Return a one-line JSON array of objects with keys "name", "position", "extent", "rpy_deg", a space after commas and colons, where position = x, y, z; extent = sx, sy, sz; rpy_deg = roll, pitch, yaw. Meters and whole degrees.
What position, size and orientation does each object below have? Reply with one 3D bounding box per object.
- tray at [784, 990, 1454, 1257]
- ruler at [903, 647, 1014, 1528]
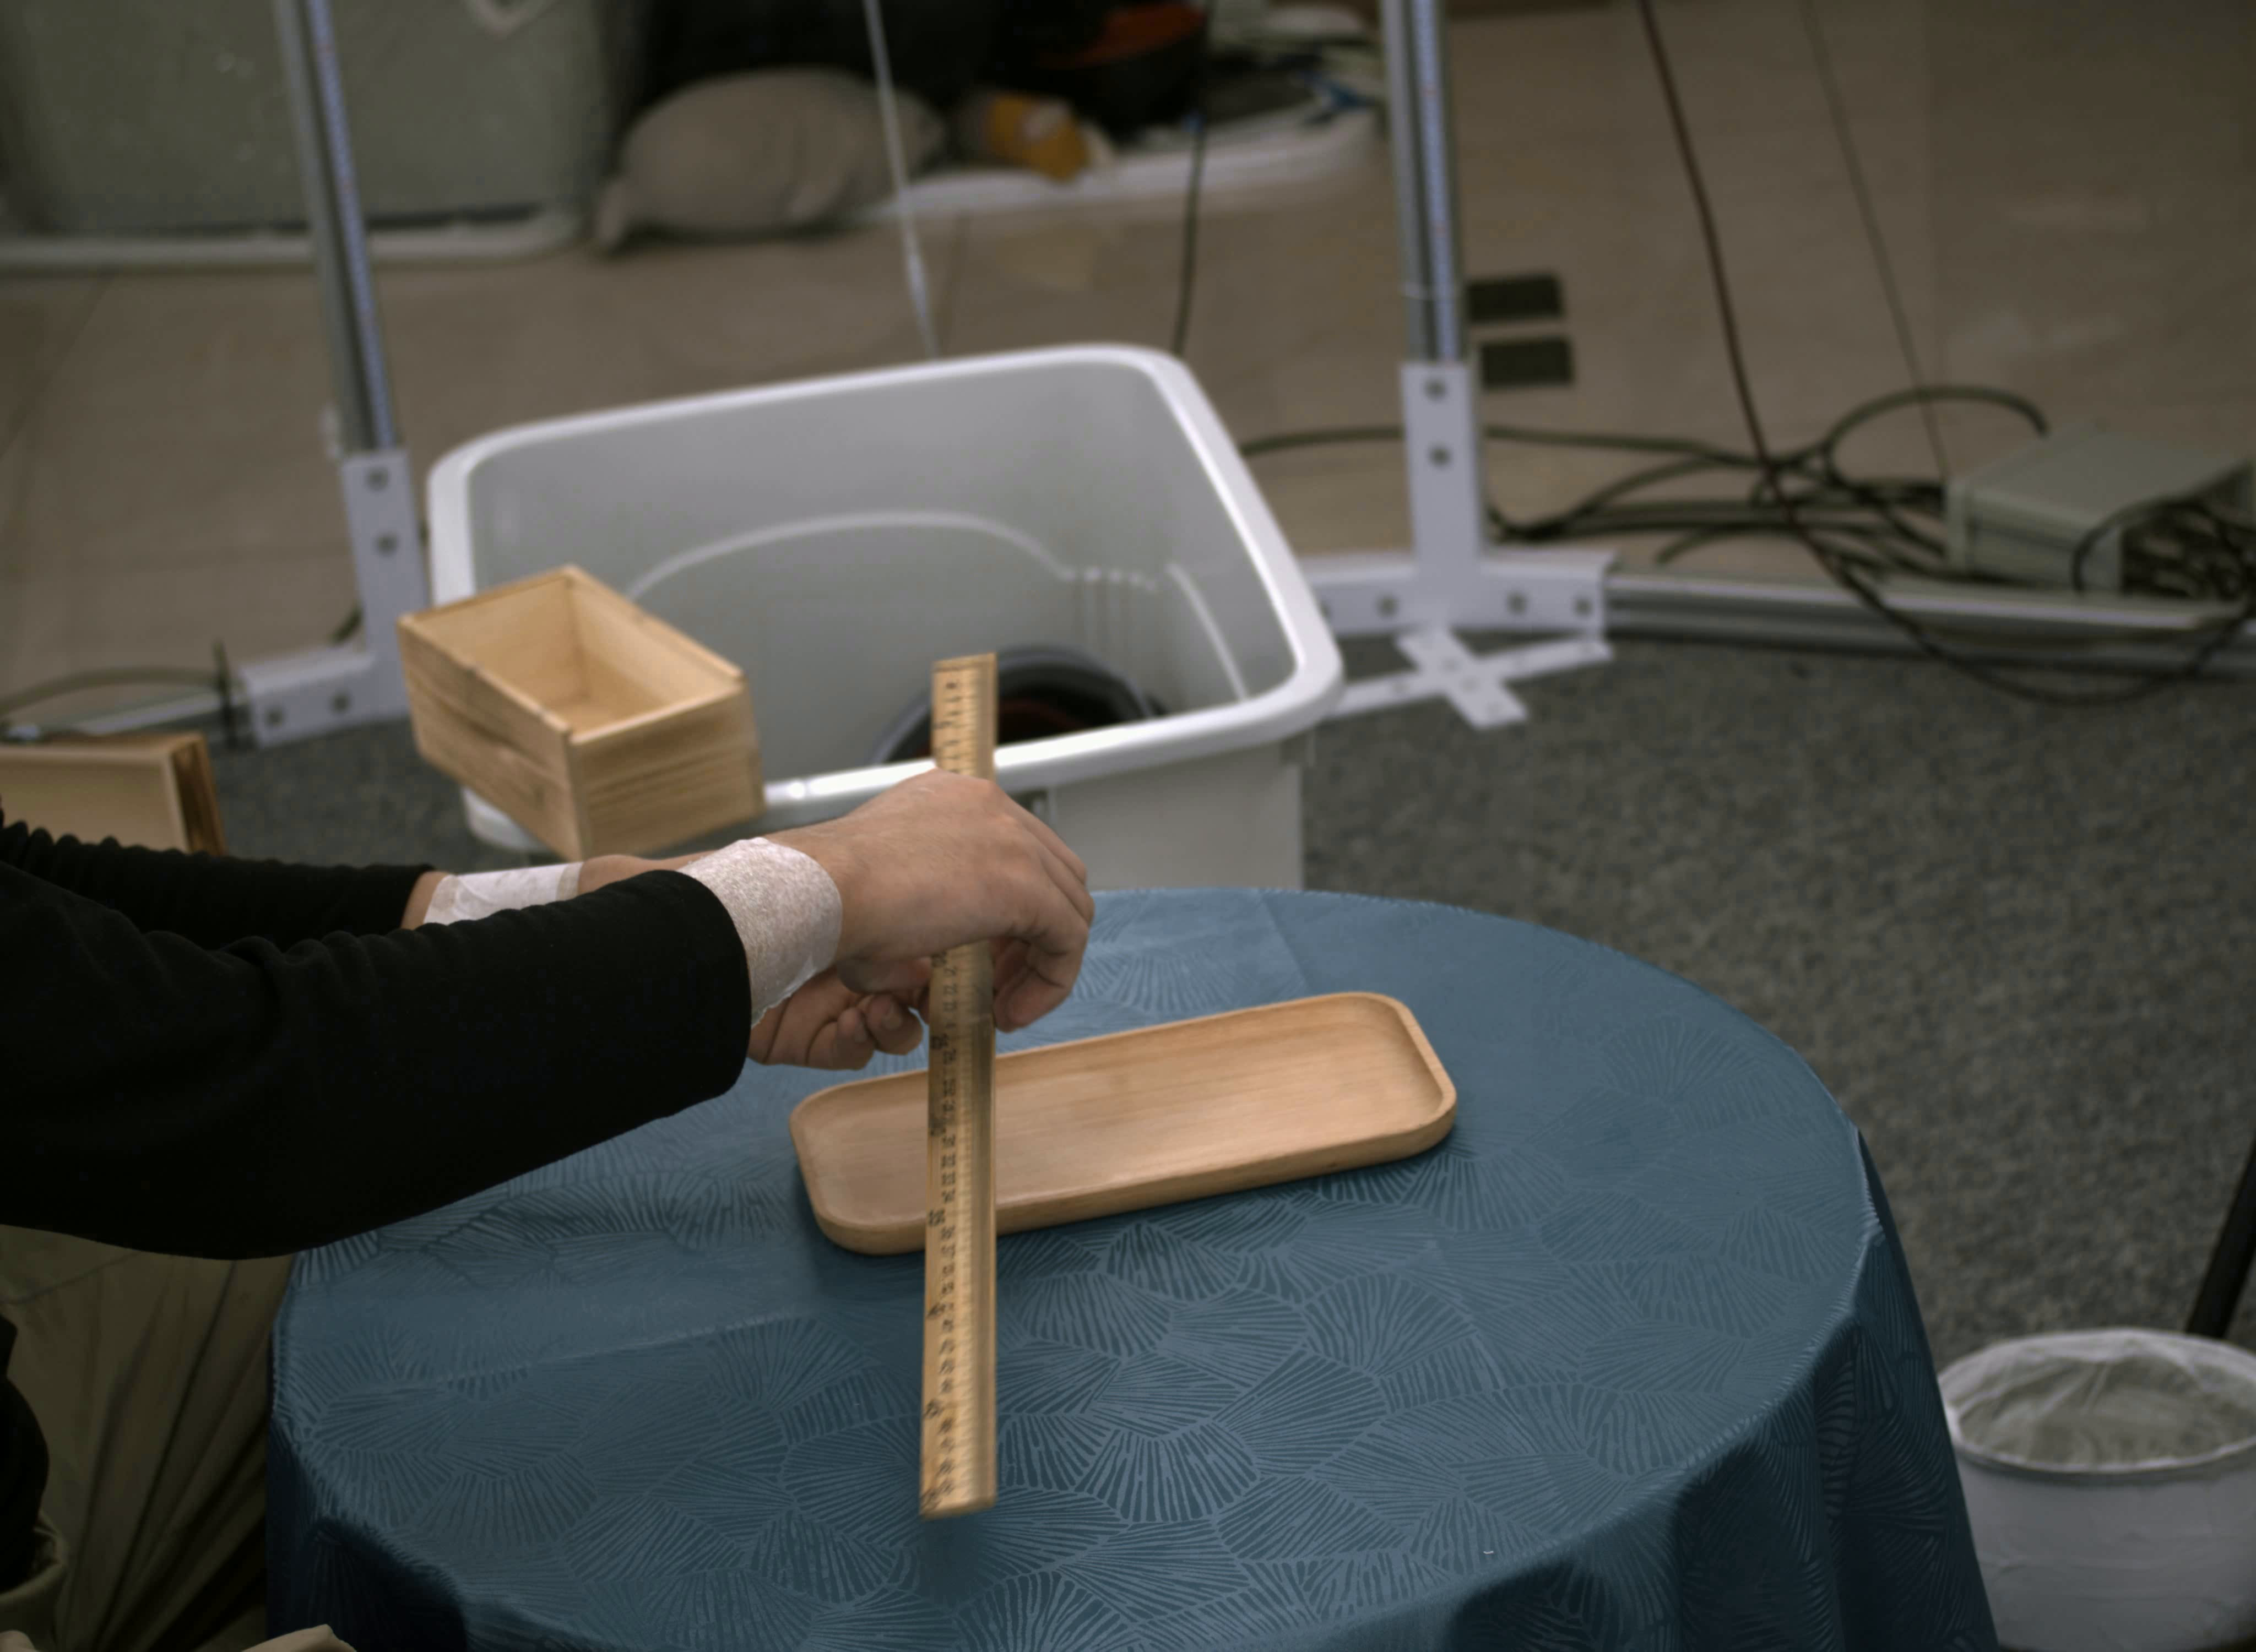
[{"name": "tray", "position": [-0.004, 0.114, 2.183], "extent": [0.250, 0.023, 0.129], "rpy_deg": [-11, 23, -6]}, {"name": "ruler", "position": [-0.060, 0.081, 2.069], "extent": [0.027, 0.006, 0.491], "rpy_deg": [-13, 36, 10]}]
